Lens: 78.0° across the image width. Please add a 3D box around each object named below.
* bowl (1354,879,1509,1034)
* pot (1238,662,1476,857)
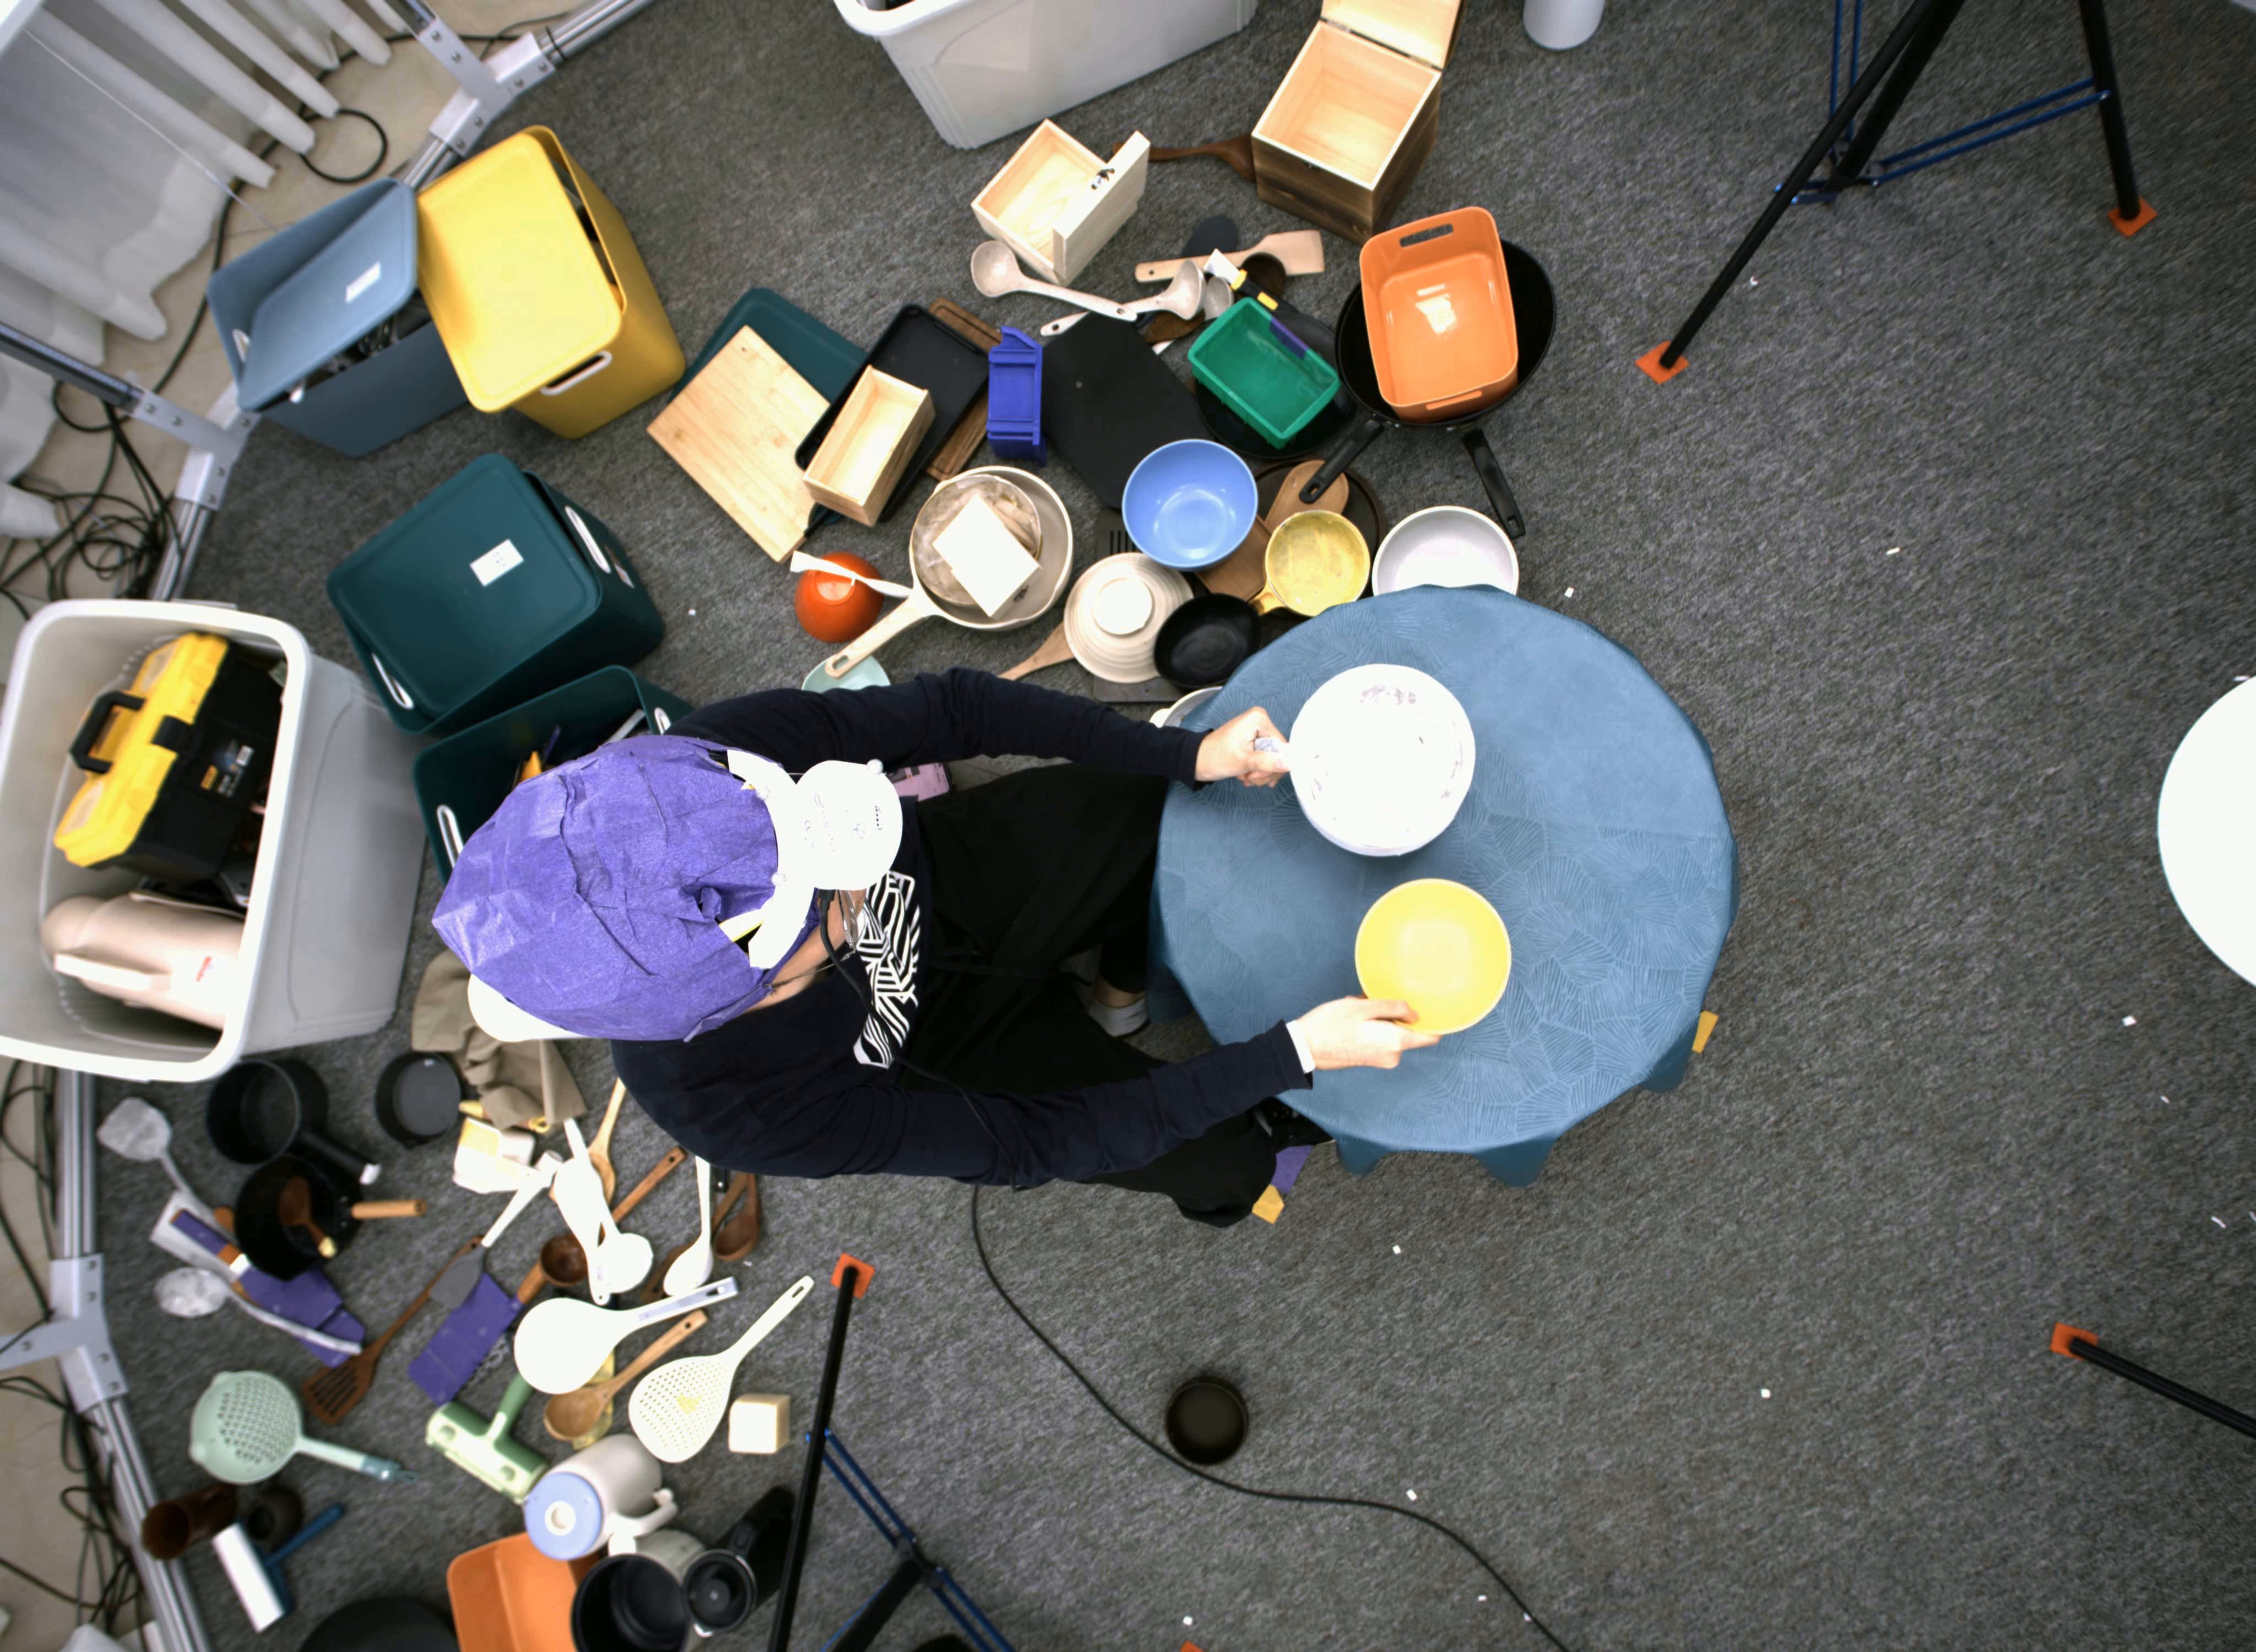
[{"bbox_3d":[0.290,0.122,1.316,0.146,0.060,0.145,-1,88,16],"label":"bowl"},{"bbox_3d":[0.224,-0.063,1.380,0.234,0.137,0.177,3,82,9],"label":"pot"}]
